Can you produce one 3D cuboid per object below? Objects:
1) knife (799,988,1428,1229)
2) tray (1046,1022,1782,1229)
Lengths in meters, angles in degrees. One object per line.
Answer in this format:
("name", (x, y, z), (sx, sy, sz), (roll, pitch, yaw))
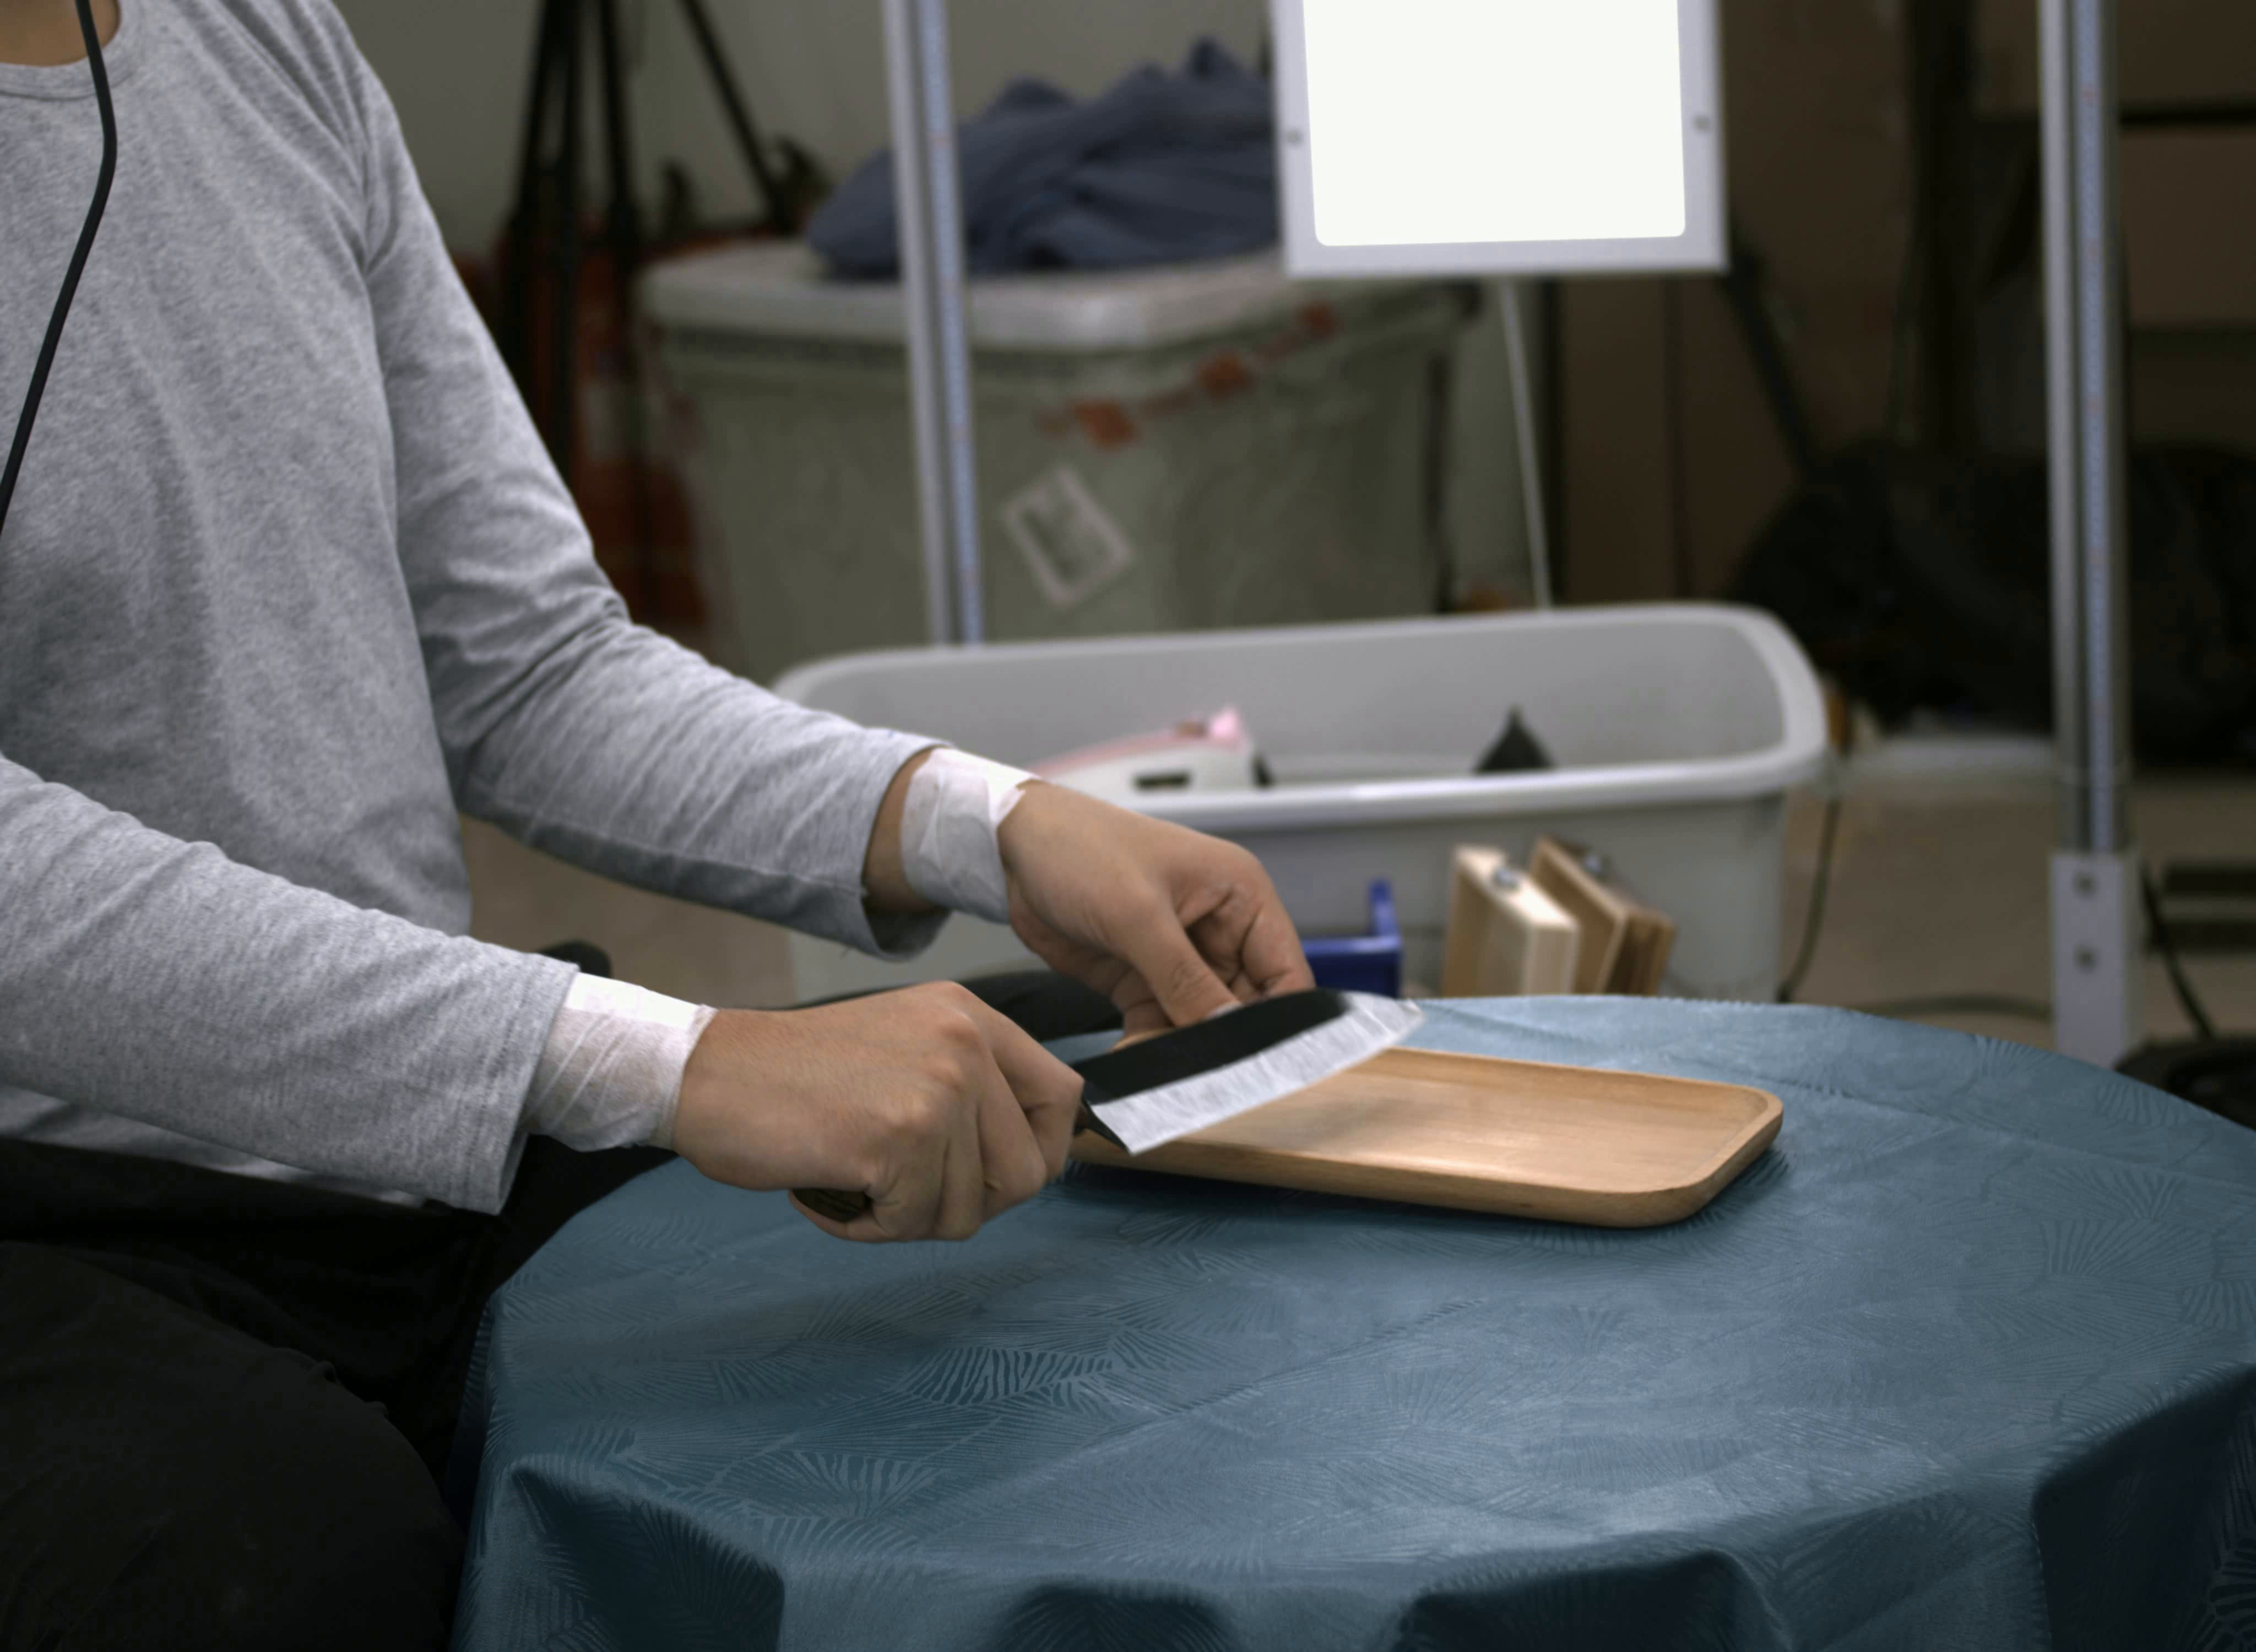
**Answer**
("knife", (0.002, 0.092, 1.838), (0.281, 0.020, 0.051), (-14, 48, -42))
("tray", (0.096, 0.103, 1.908), (0.255, 0.023, 0.127), (5, 14, 28))
